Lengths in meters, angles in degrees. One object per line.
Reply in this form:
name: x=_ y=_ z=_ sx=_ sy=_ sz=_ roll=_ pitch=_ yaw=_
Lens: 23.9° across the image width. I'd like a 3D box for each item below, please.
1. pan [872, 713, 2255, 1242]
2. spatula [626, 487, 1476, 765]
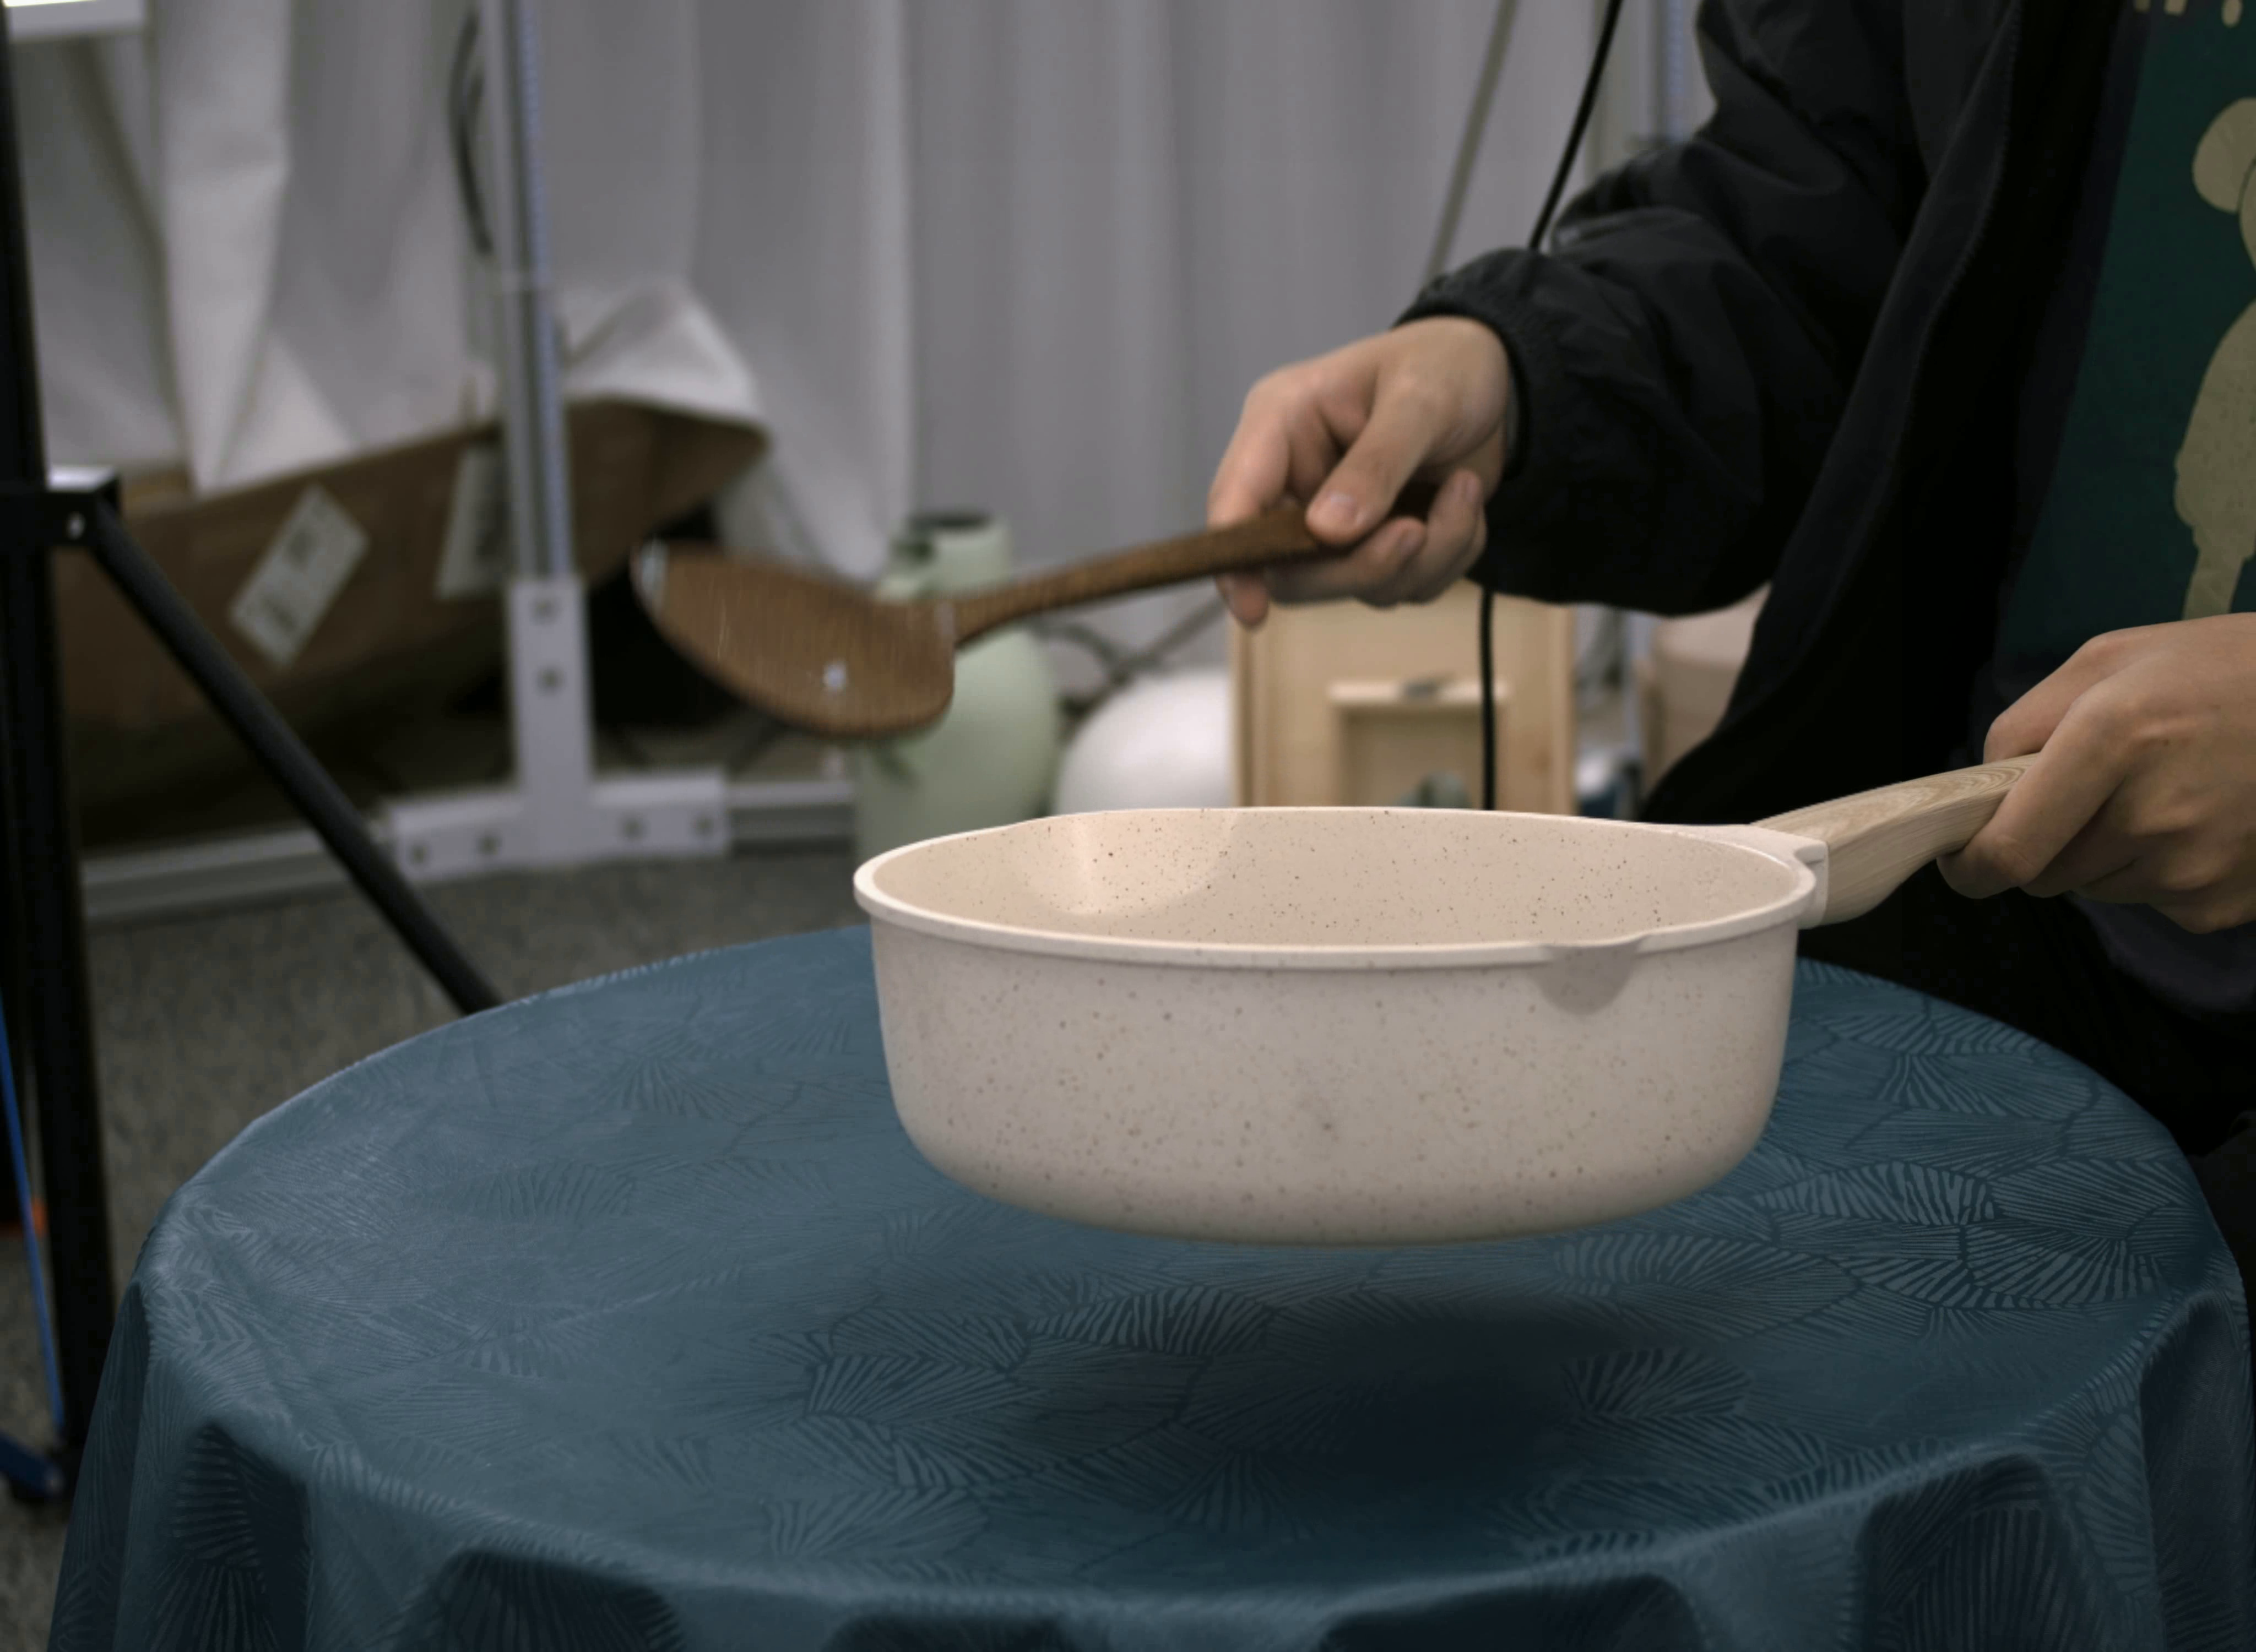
pan: x=0.139 y=0.036 z=1.420 sx=0.425 sy=0.102 sz=0.268 roll=-5 pitch=8 yaw=-27
spatula: x=-0.005 y=-0.072 z=1.663 sx=0.098 sy=0.016 sz=0.377 roll=36 pitch=32 yaw=29
